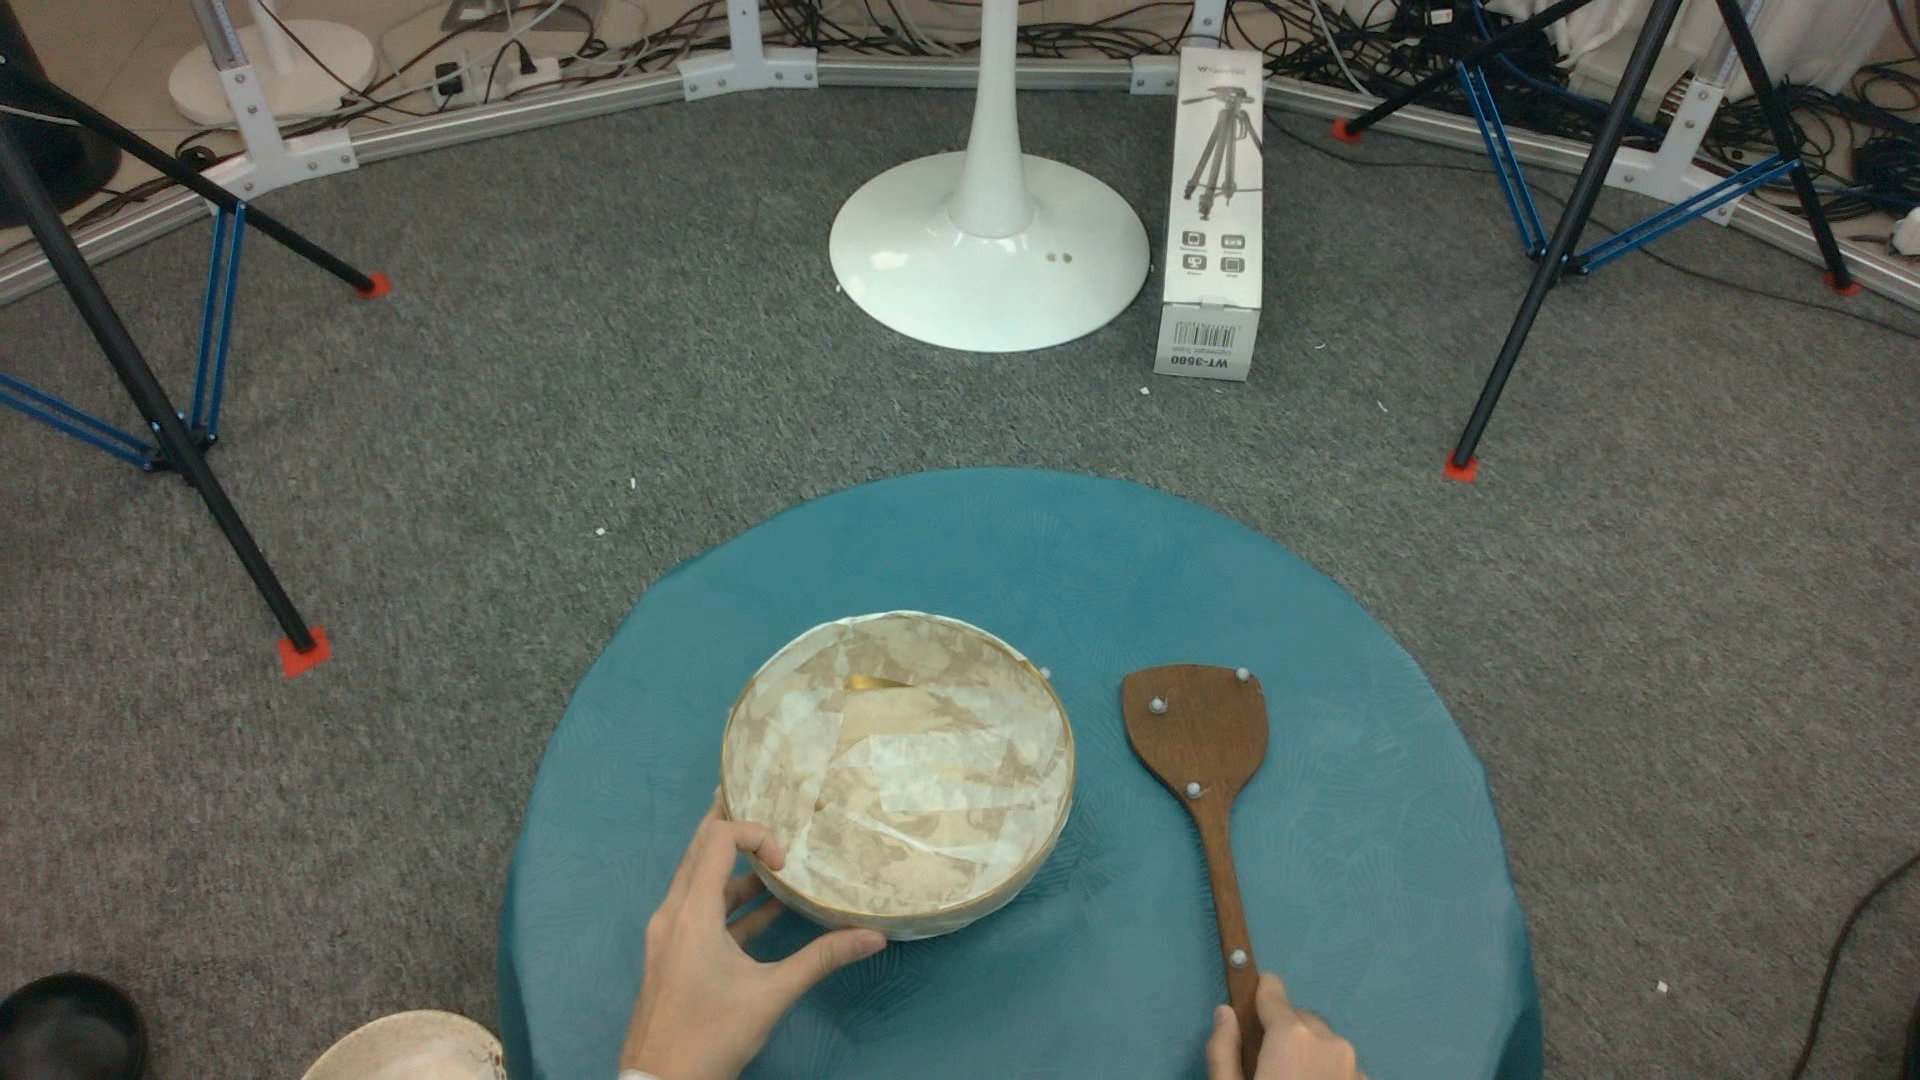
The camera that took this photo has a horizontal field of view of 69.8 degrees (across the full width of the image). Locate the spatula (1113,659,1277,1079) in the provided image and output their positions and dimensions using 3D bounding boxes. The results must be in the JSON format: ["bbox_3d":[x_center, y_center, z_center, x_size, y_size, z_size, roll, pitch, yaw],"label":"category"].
[{"bbox_3d":[0.152,0.217,0.783,0.096,0.016,0.387,0,45,-2],"label":"spatula"}]

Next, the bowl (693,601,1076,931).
[{"bbox_3d":[-0.042,0.144,0.797,0.215,0.094,0.215,3,48,-3],"label":"bowl"}]
